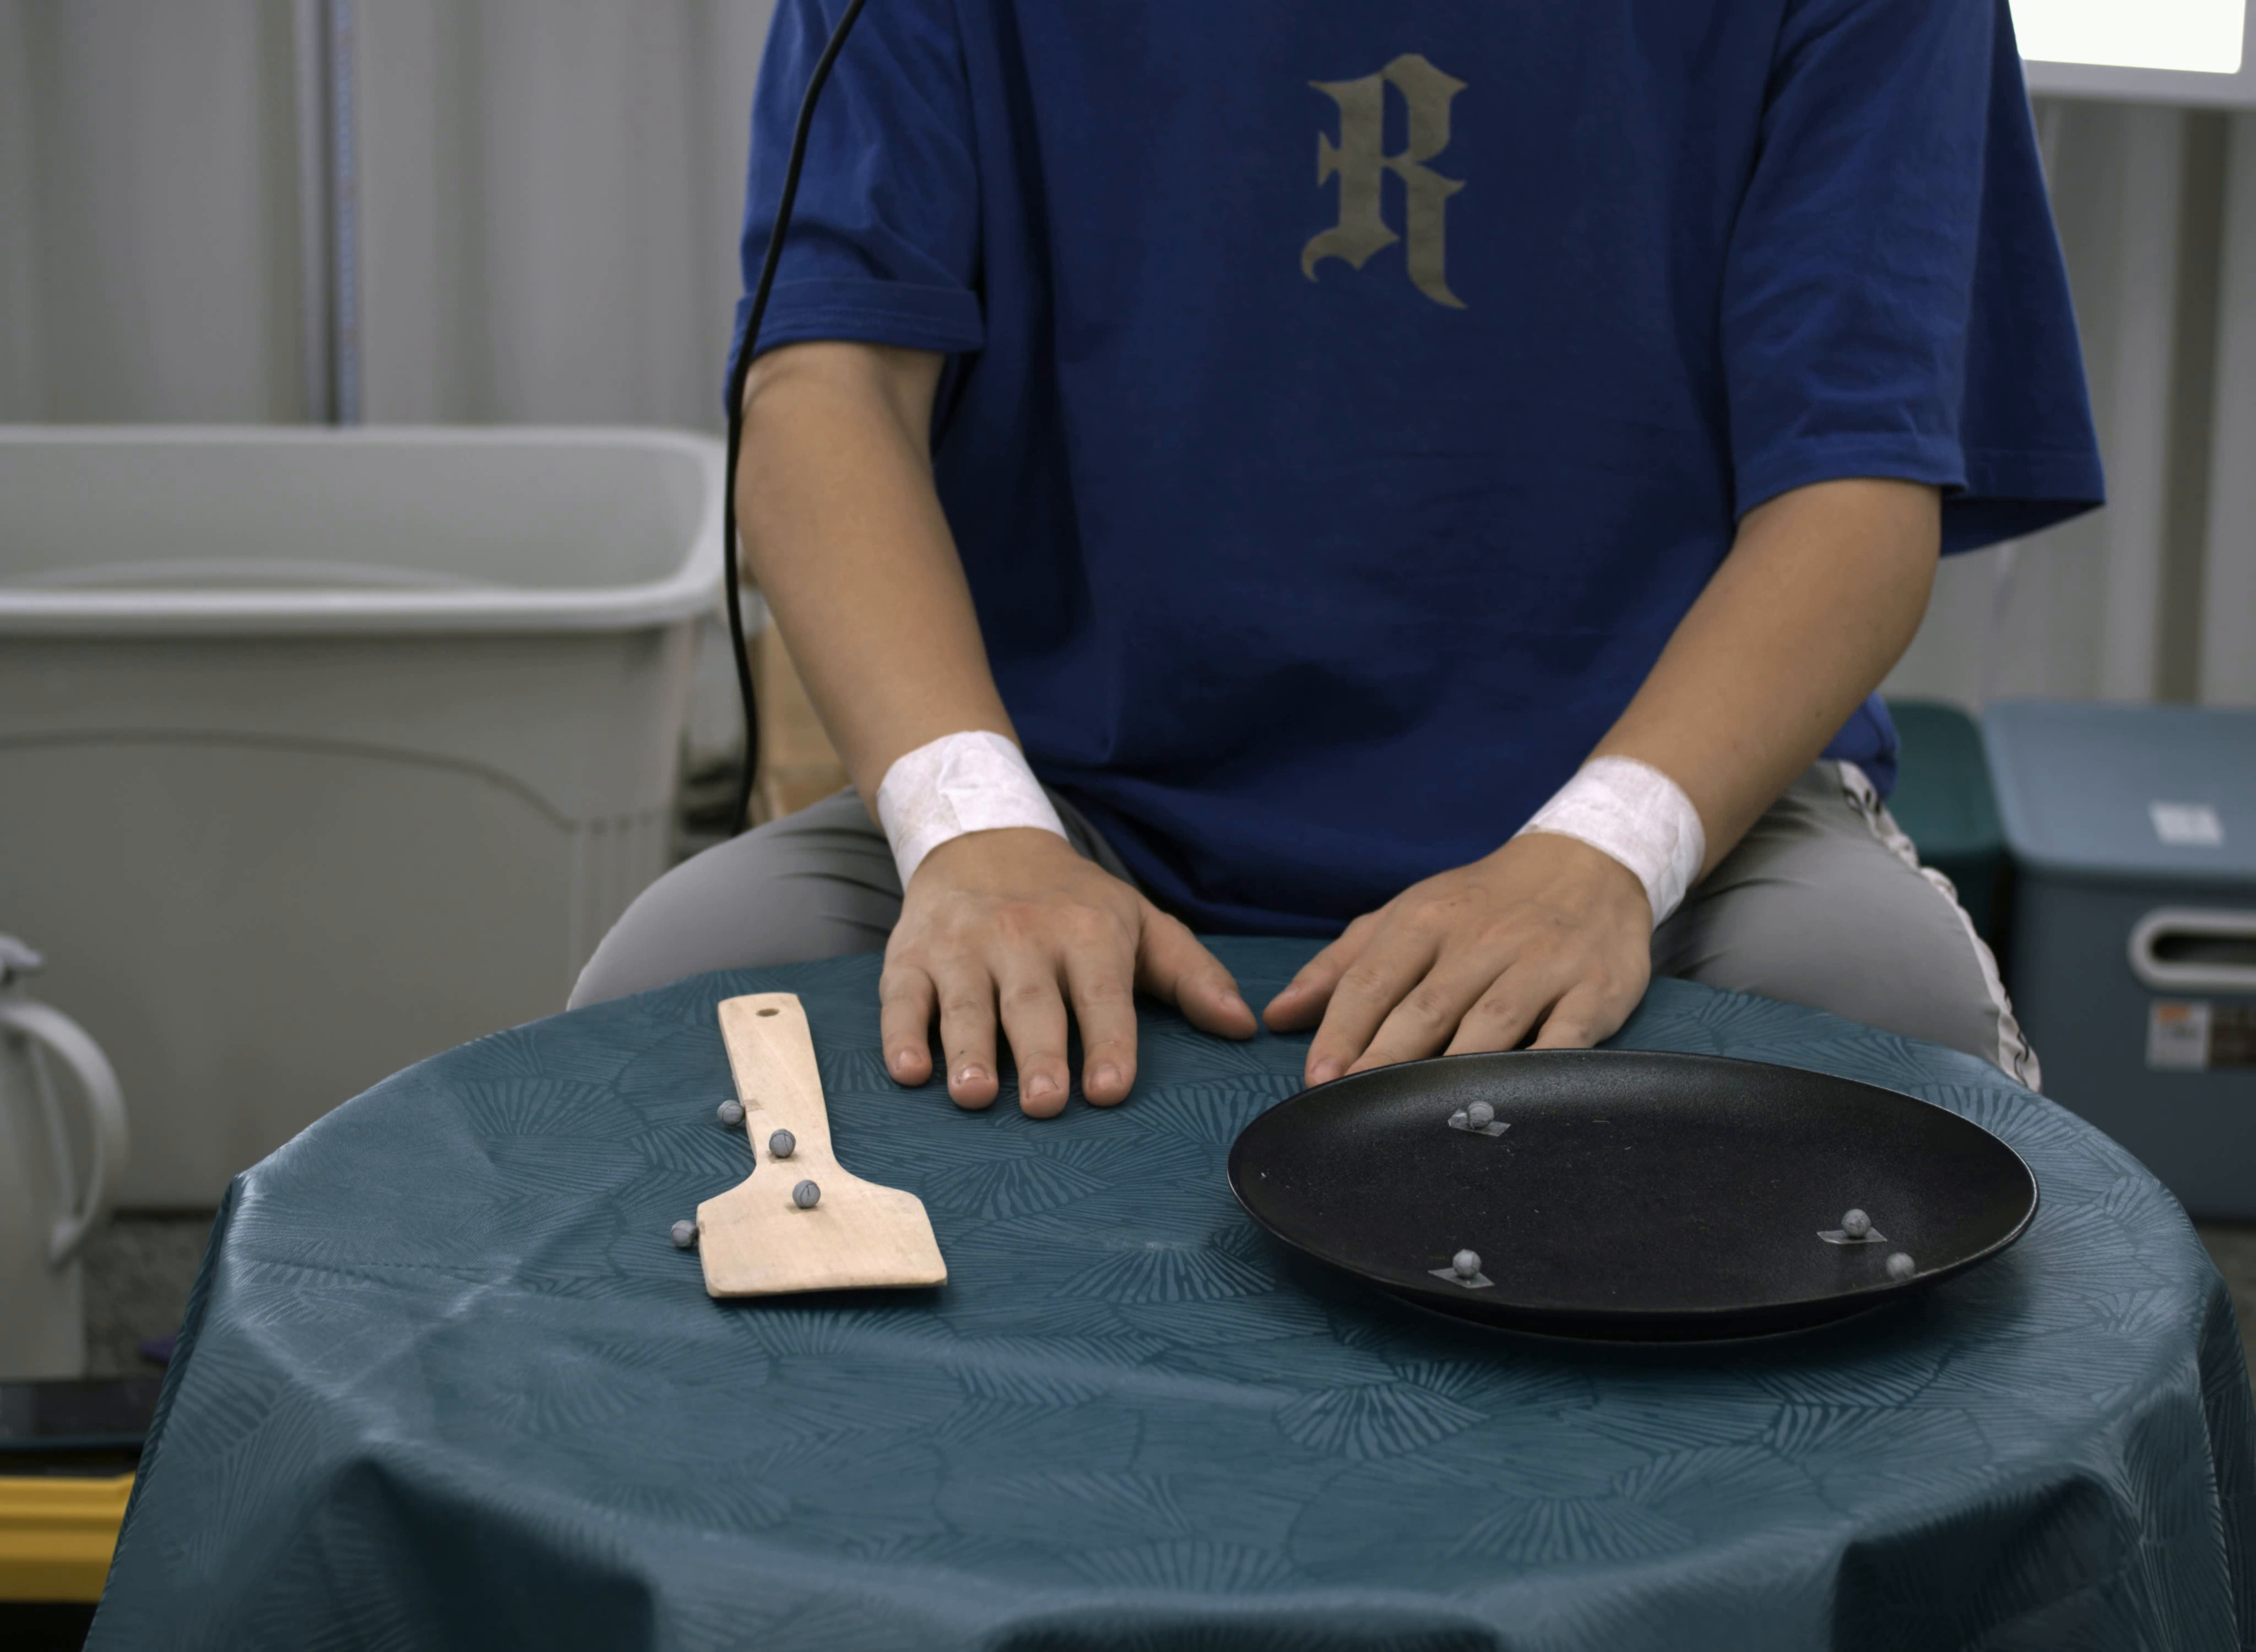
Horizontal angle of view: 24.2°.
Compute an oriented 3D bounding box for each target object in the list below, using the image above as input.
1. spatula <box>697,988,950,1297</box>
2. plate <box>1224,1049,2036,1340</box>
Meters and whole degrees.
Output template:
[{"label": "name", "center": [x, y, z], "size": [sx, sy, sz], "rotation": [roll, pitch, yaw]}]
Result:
[{"label": "spatula", "center": [-0.106, 0.097, 1.657], "size": [0.072, 0.011, 0.290], "rotation": [-3, 16, -8]}, {"label": "plate", "center": [0.150, 0.113, 1.583], "size": [0.243, 0.023, 0.243], "rotation": [1, 15, 0]}]
